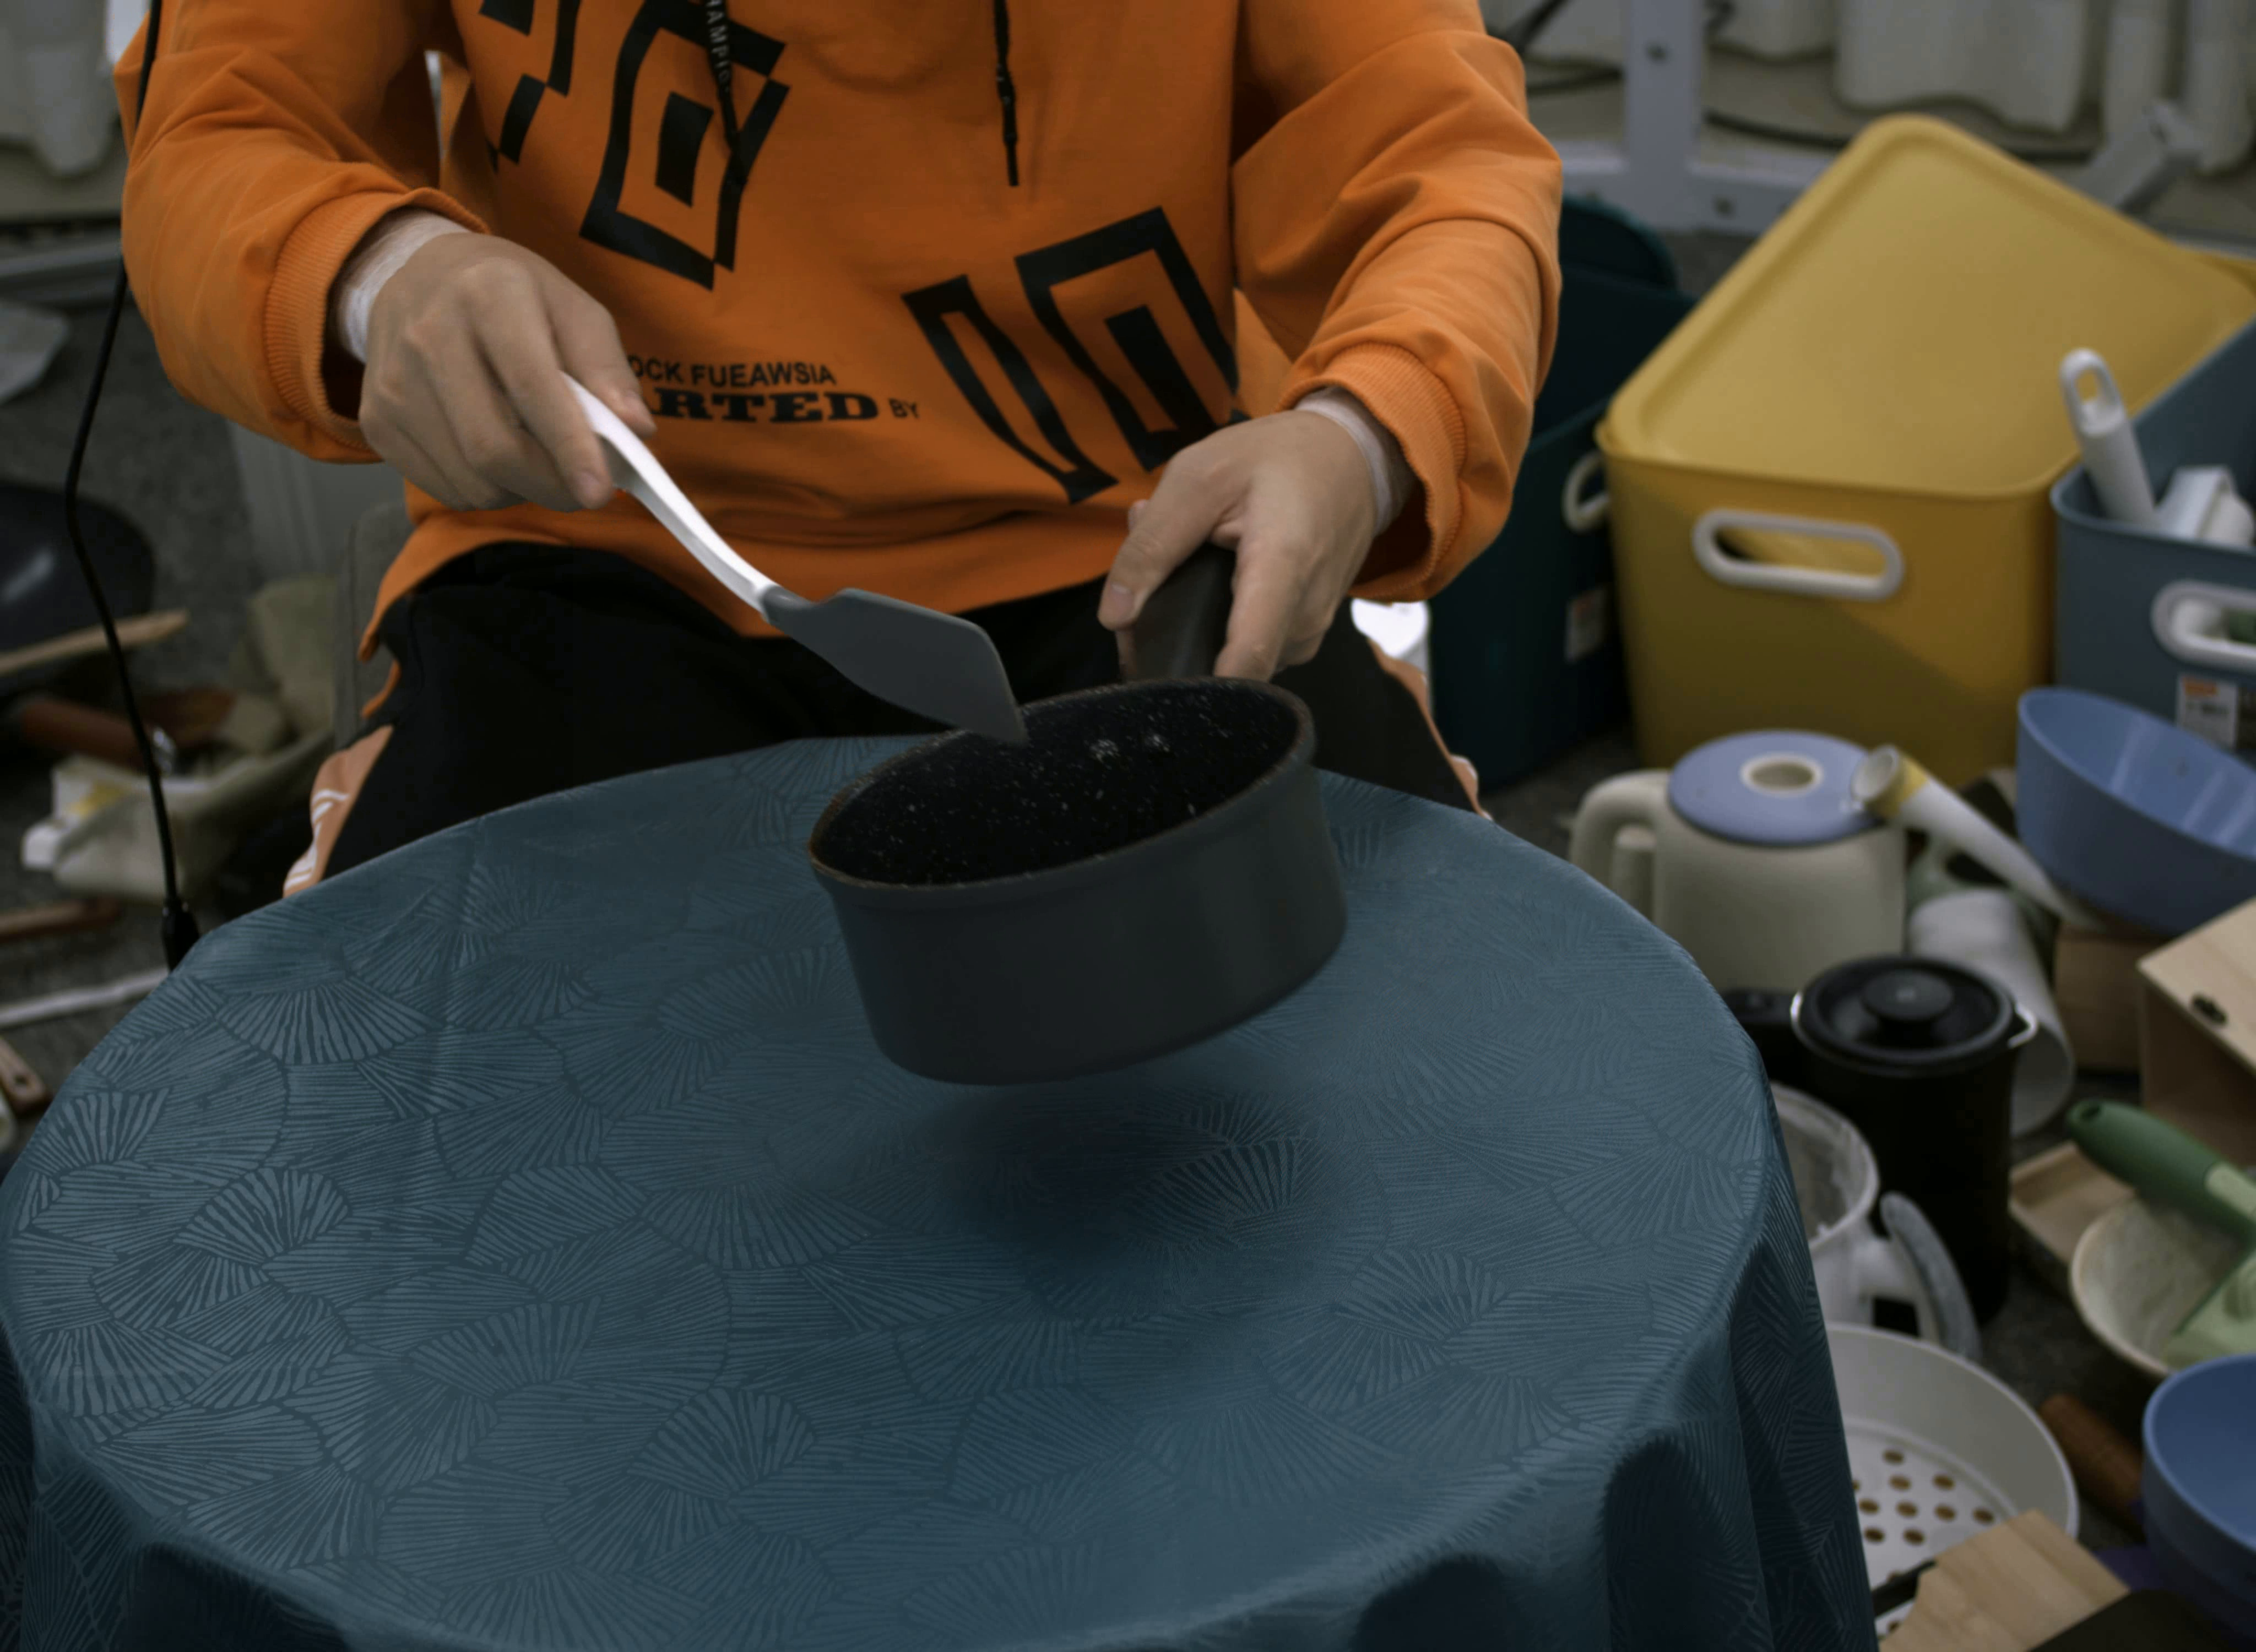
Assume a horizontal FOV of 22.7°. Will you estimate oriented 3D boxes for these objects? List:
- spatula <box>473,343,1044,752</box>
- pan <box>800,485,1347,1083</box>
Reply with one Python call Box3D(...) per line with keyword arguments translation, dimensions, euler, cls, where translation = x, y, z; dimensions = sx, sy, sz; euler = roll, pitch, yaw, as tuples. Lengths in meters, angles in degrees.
Box3D(translation=(-0.127, -0.095, 1.886), dimensions=(0.032, 0.058, 0.288), euler=(-31, 43, -26), cls="spatula")
Box3D(translation=(0.005, -0.017, 1.913), dimensions=(0.170, 0.086, 0.334), euler=(-7, 22, 20), cls="pan")
